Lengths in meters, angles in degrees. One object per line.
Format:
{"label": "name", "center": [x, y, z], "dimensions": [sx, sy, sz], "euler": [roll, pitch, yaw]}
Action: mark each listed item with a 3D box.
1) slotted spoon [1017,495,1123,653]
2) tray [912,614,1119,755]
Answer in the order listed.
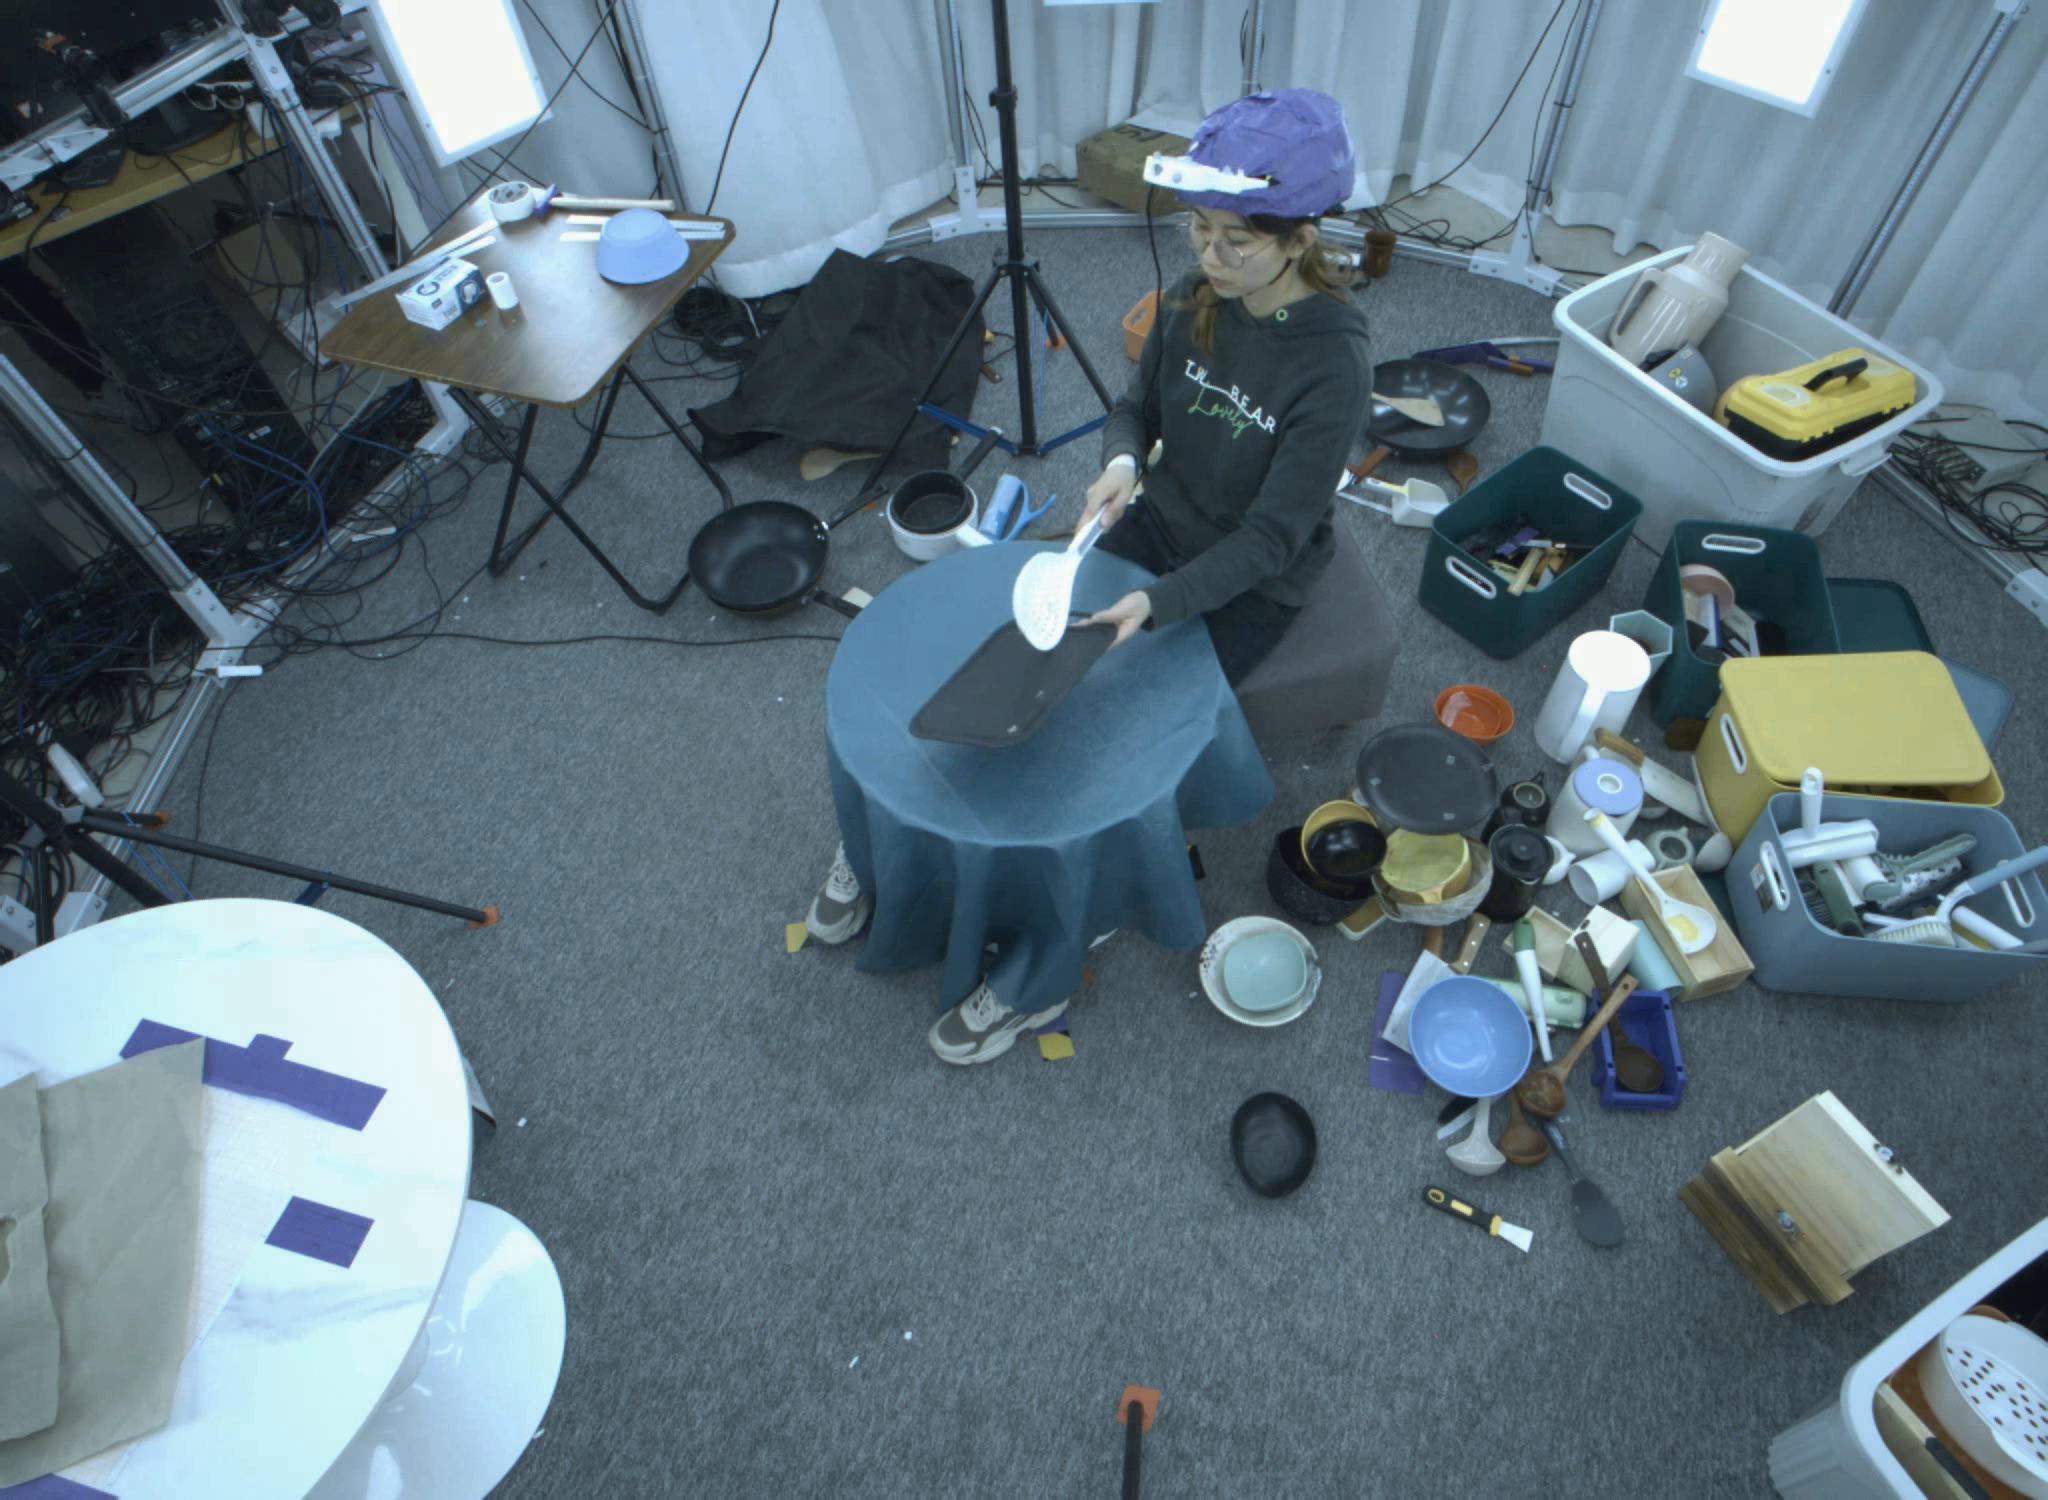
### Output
{"label": "slotted spoon", "center": [0.073, -0.277, 1.806], "dimensions": [0.045, 0.138, 0.351], "euler": [10, 46, 32]}
{"label": "tray", "center": [-0.006, -0.103, 1.736], "dimensions": [0.207, 0.010, 0.327], "euler": [10, 44, 34]}
